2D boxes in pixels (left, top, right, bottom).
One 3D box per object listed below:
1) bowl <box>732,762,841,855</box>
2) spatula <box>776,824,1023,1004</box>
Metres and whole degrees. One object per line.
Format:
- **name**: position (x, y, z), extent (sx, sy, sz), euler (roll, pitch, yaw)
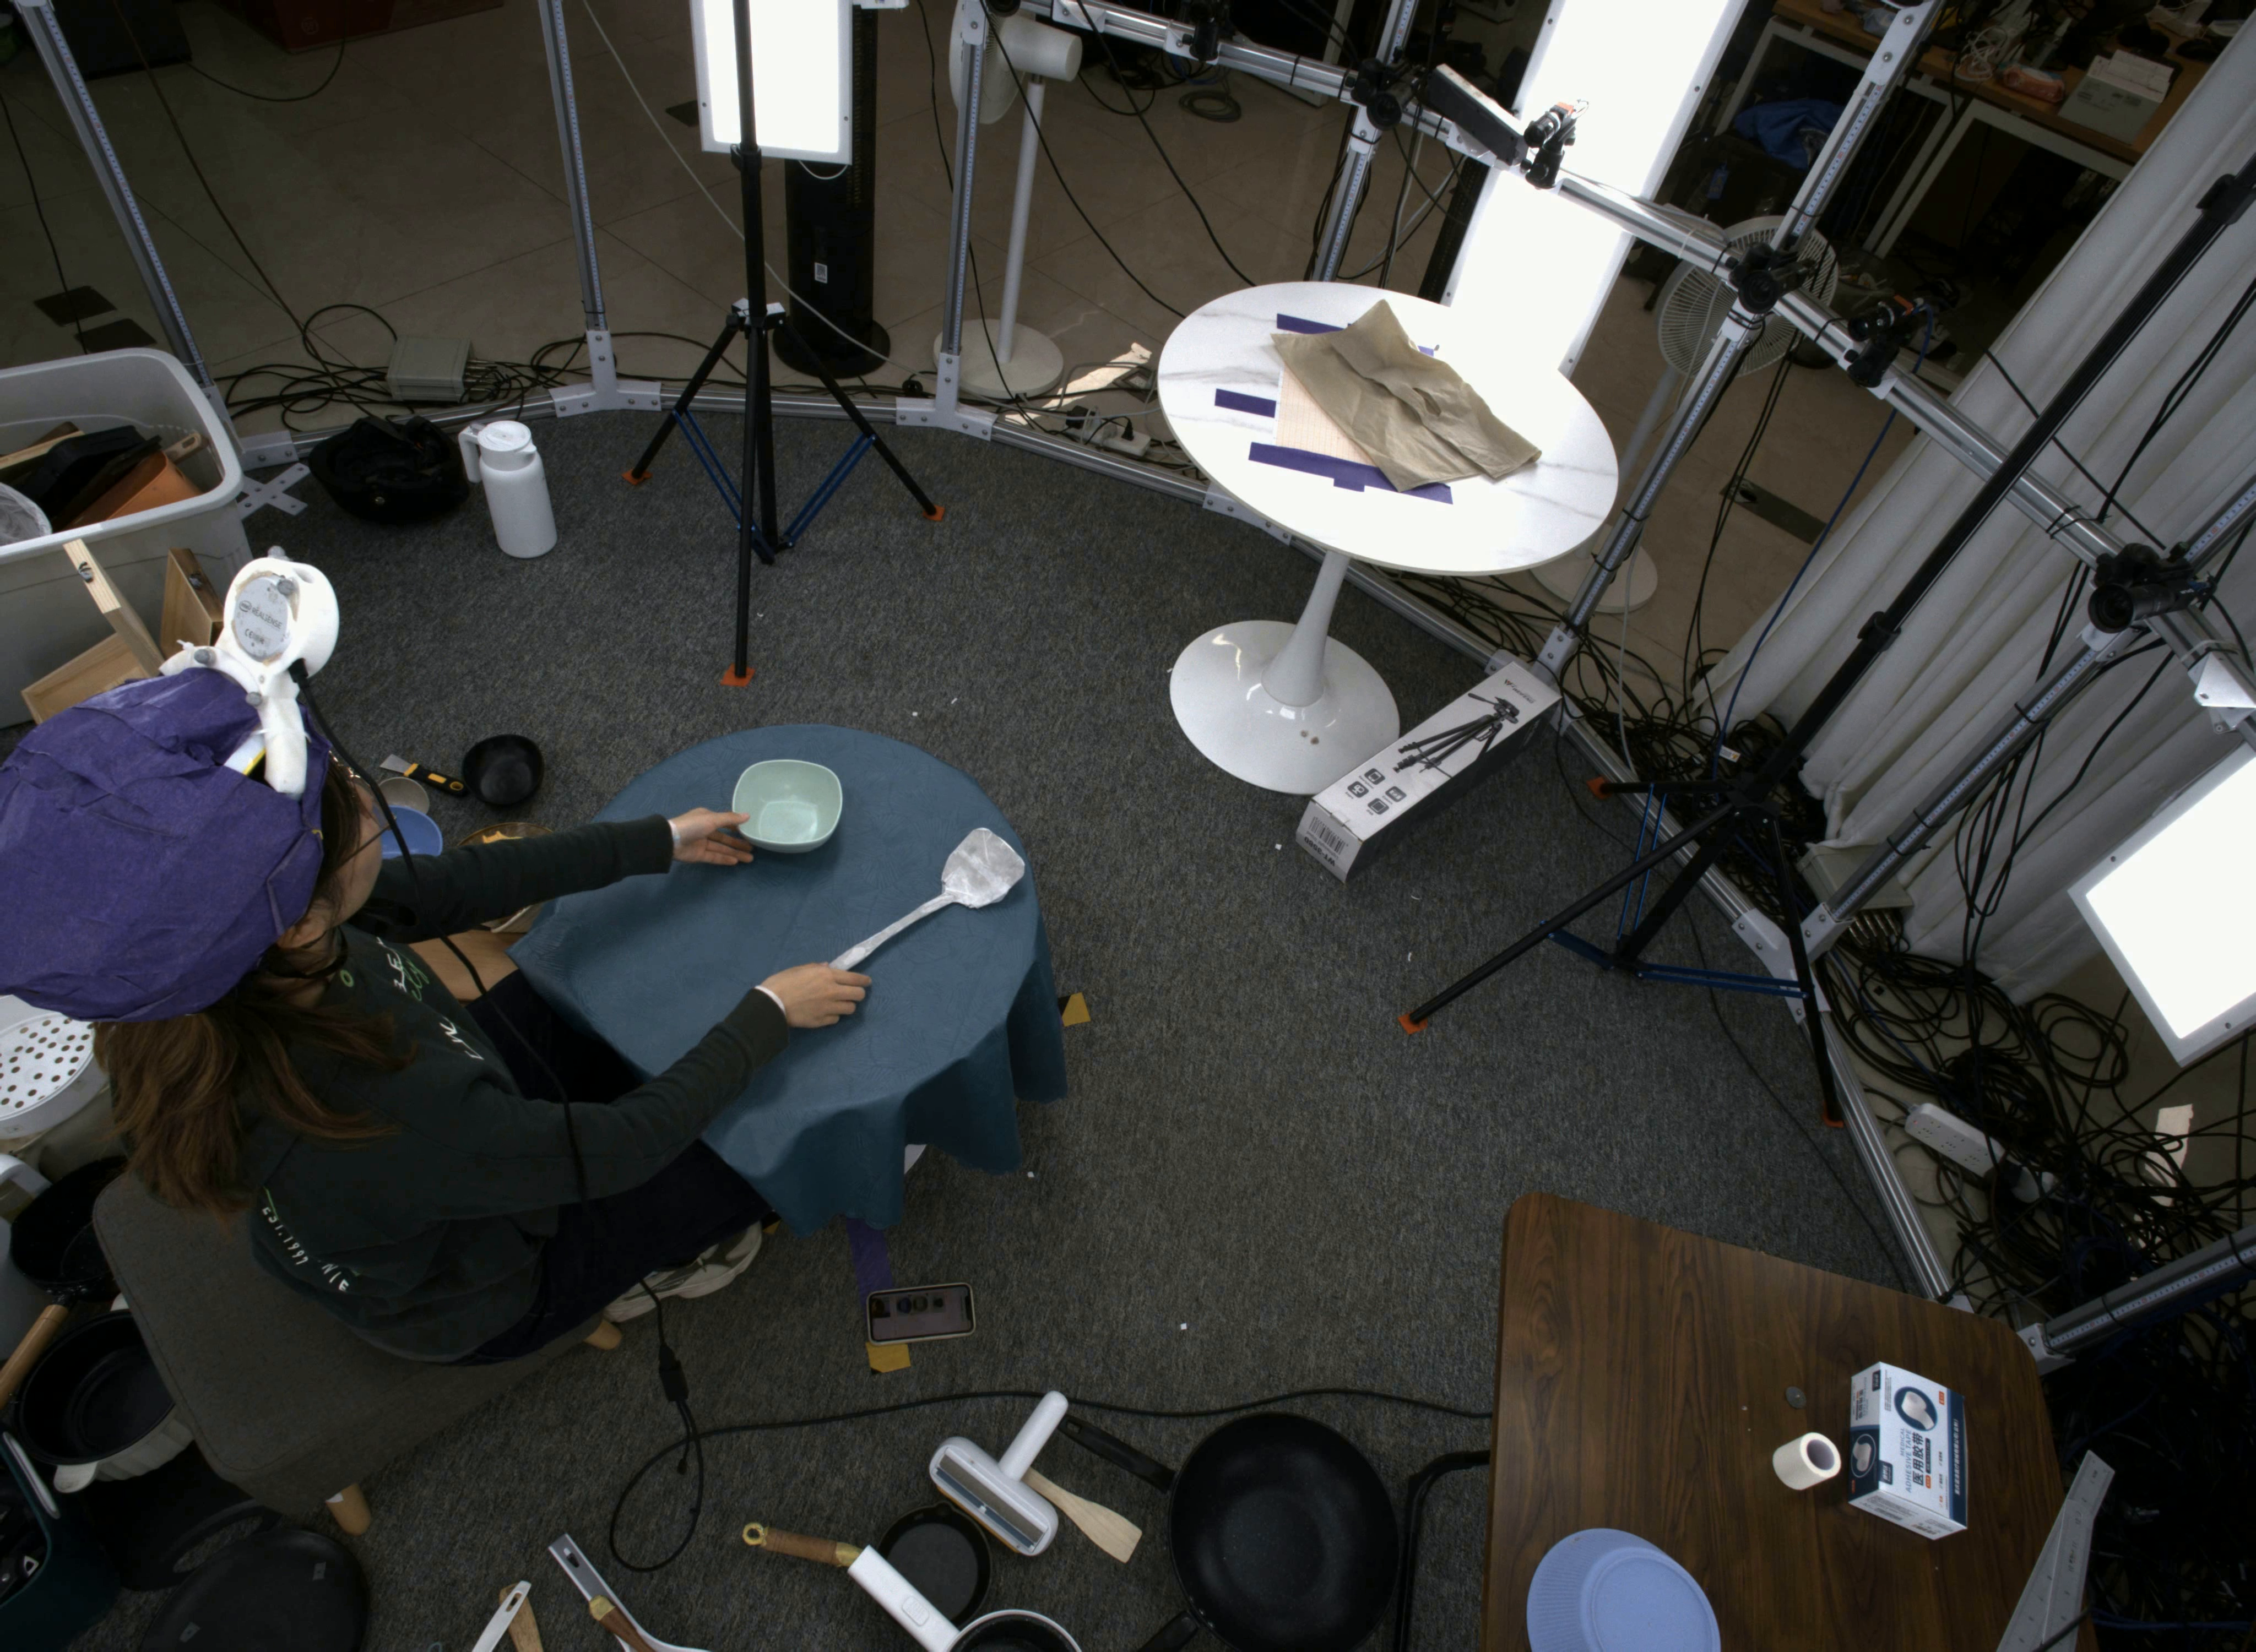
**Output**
- **bowl**: position (-0.447, -0.015, 1.698), extent (0.151, 0.060, 0.148), euler (9, 50, -9)
- **spatula**: position (-0.290, 0.118, 1.651), extent (0.366, 0.045, 0.096), euler (-34, 69, -33)
